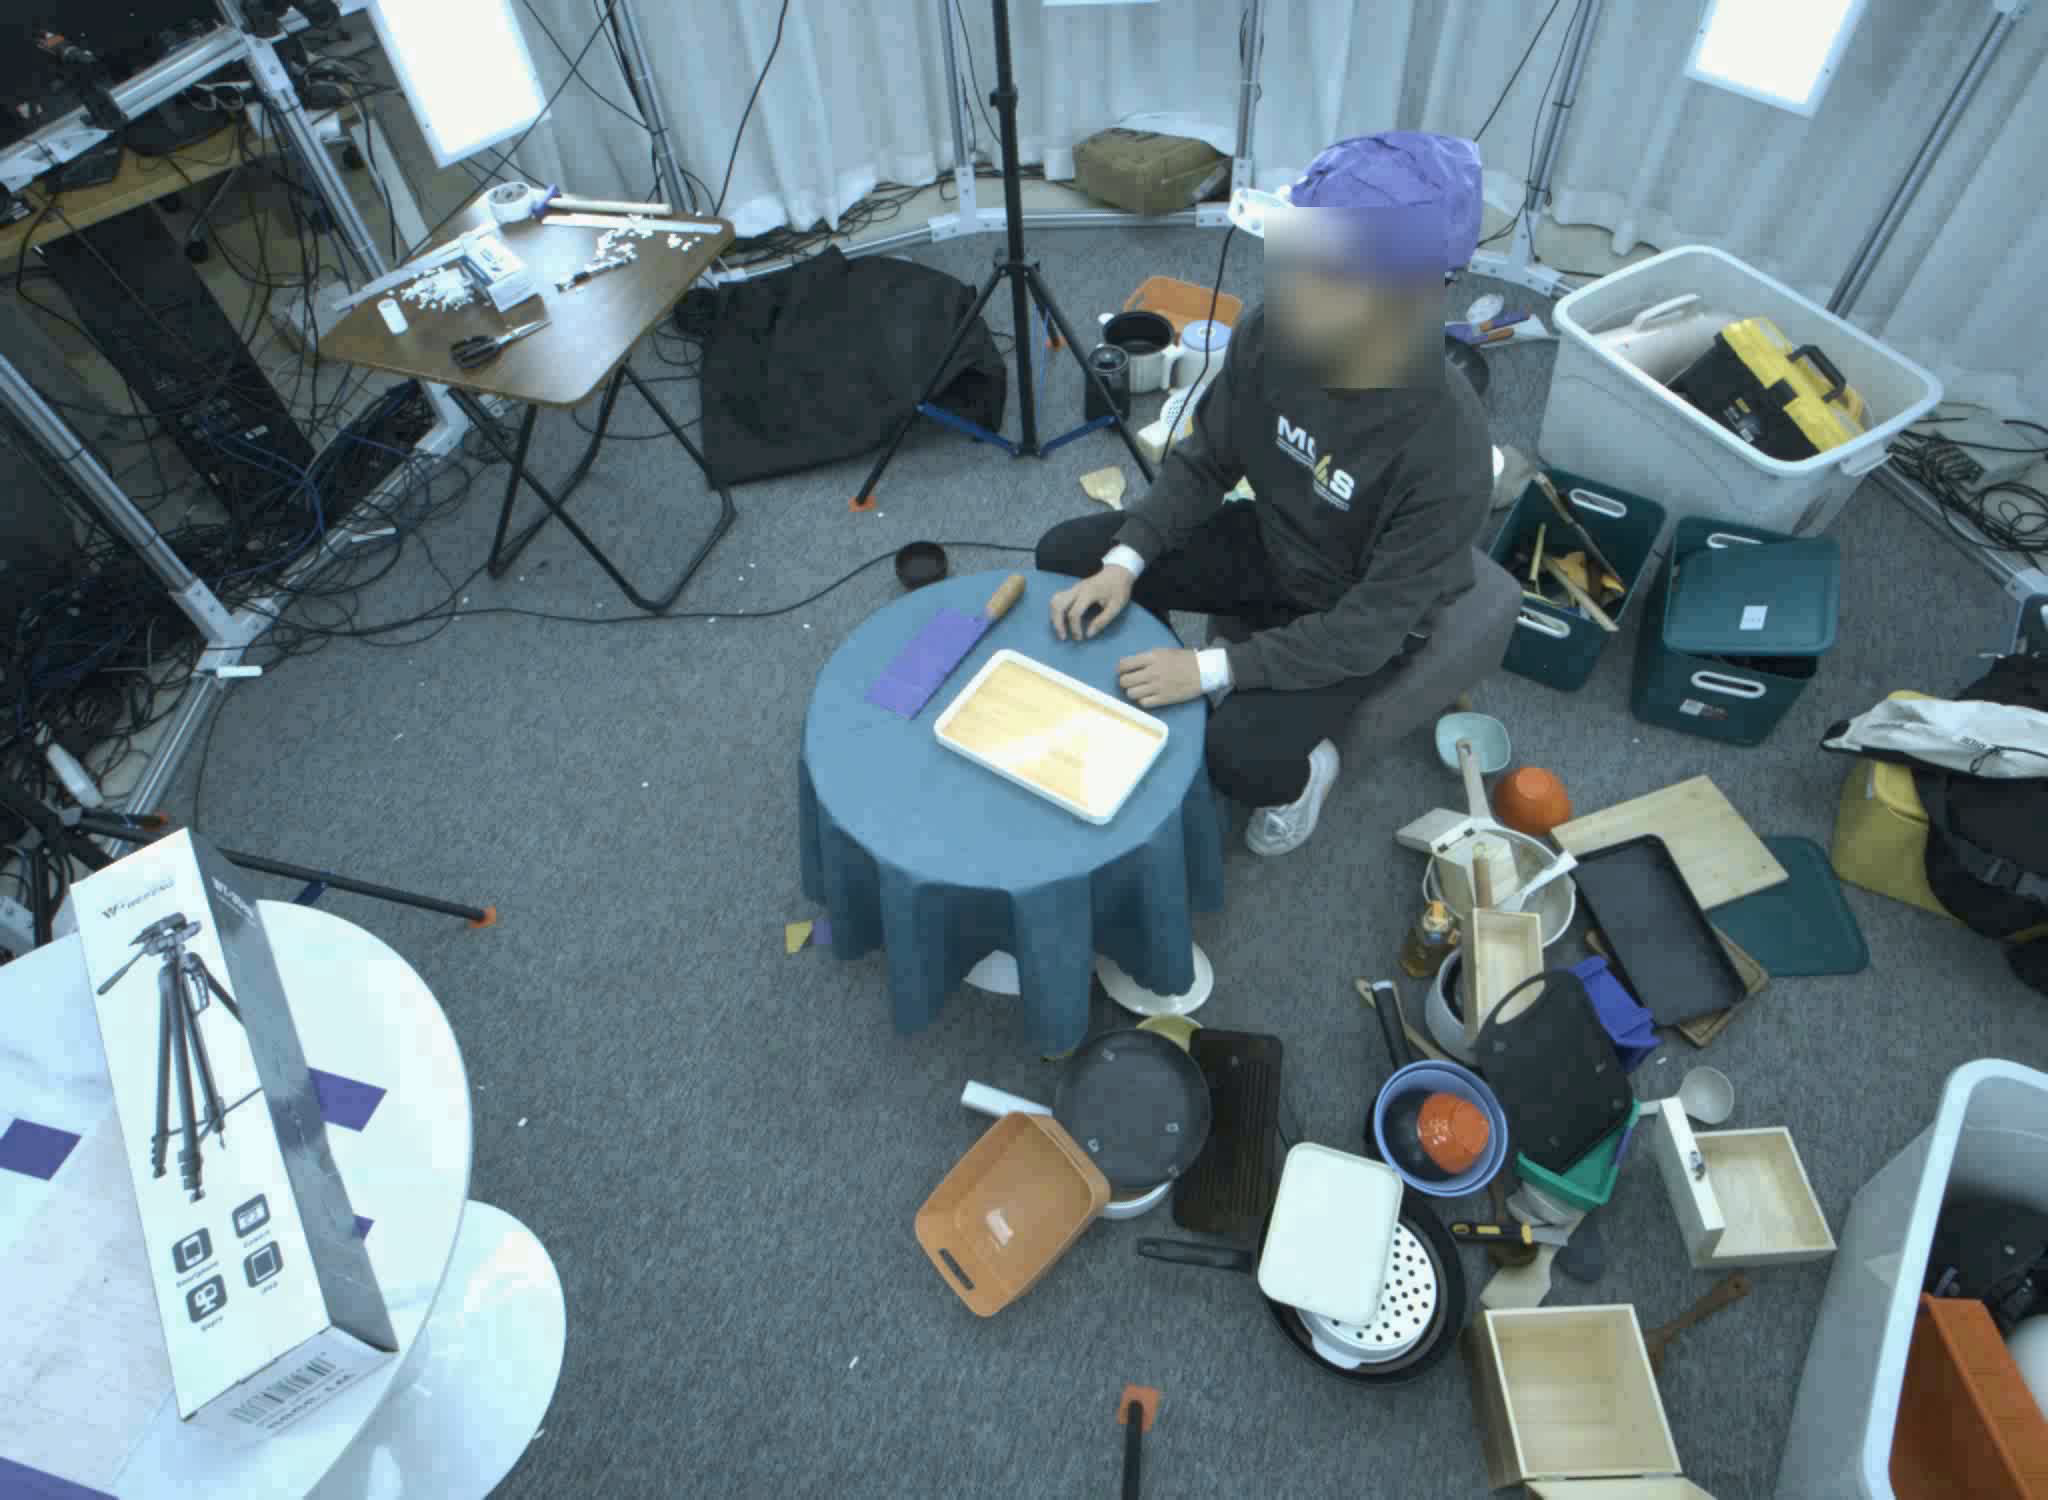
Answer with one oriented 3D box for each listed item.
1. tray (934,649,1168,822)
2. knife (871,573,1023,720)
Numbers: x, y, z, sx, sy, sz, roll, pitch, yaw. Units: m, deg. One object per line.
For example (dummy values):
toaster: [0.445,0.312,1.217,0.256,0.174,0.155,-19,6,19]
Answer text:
tray: [0.039,-0.026,1.796,0.296,0.028,0.192,27,59,19]
knife: [-0.122,-0.176,1.907,0.102,0.032,0.316,27,60,19]
